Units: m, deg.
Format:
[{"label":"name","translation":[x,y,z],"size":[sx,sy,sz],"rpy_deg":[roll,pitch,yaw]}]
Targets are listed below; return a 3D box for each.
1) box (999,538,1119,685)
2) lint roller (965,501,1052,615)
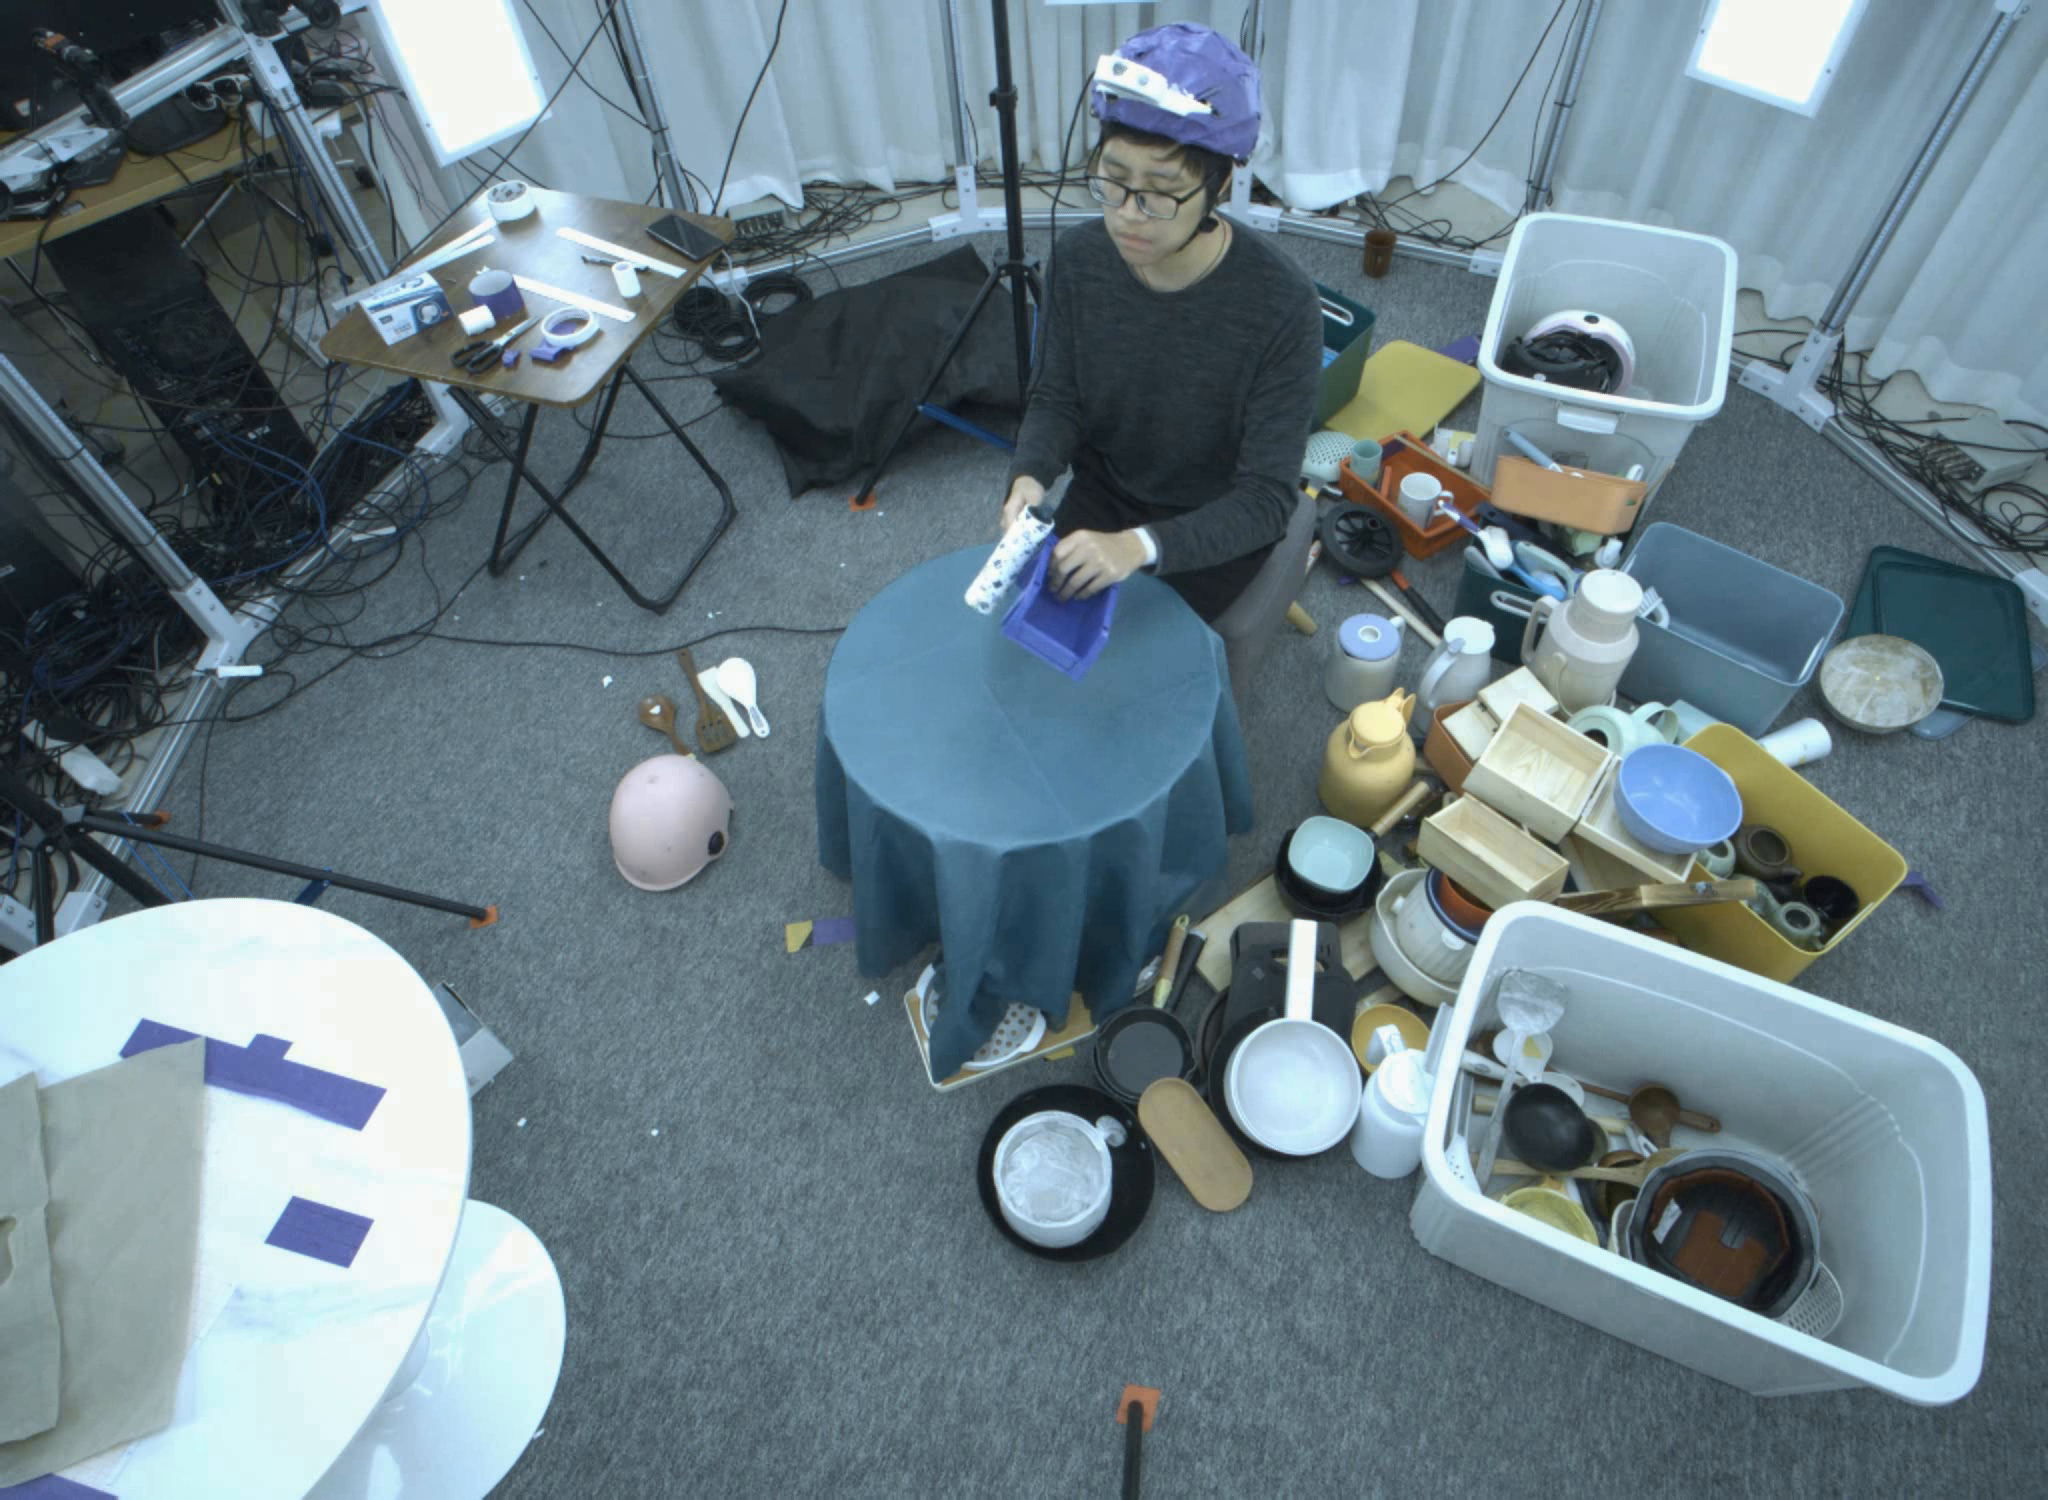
[{"label":"box","translation":[0.047,-0.178,1.618],"size":[0.126,0.081,0.178],"rpy_deg":[33,36,-14]},{"label":"lint roller","translation":[-0.005,-0.306,1.758],"size":[0.051,0.175,0.246],"rpy_deg":[33,30,-8]}]
